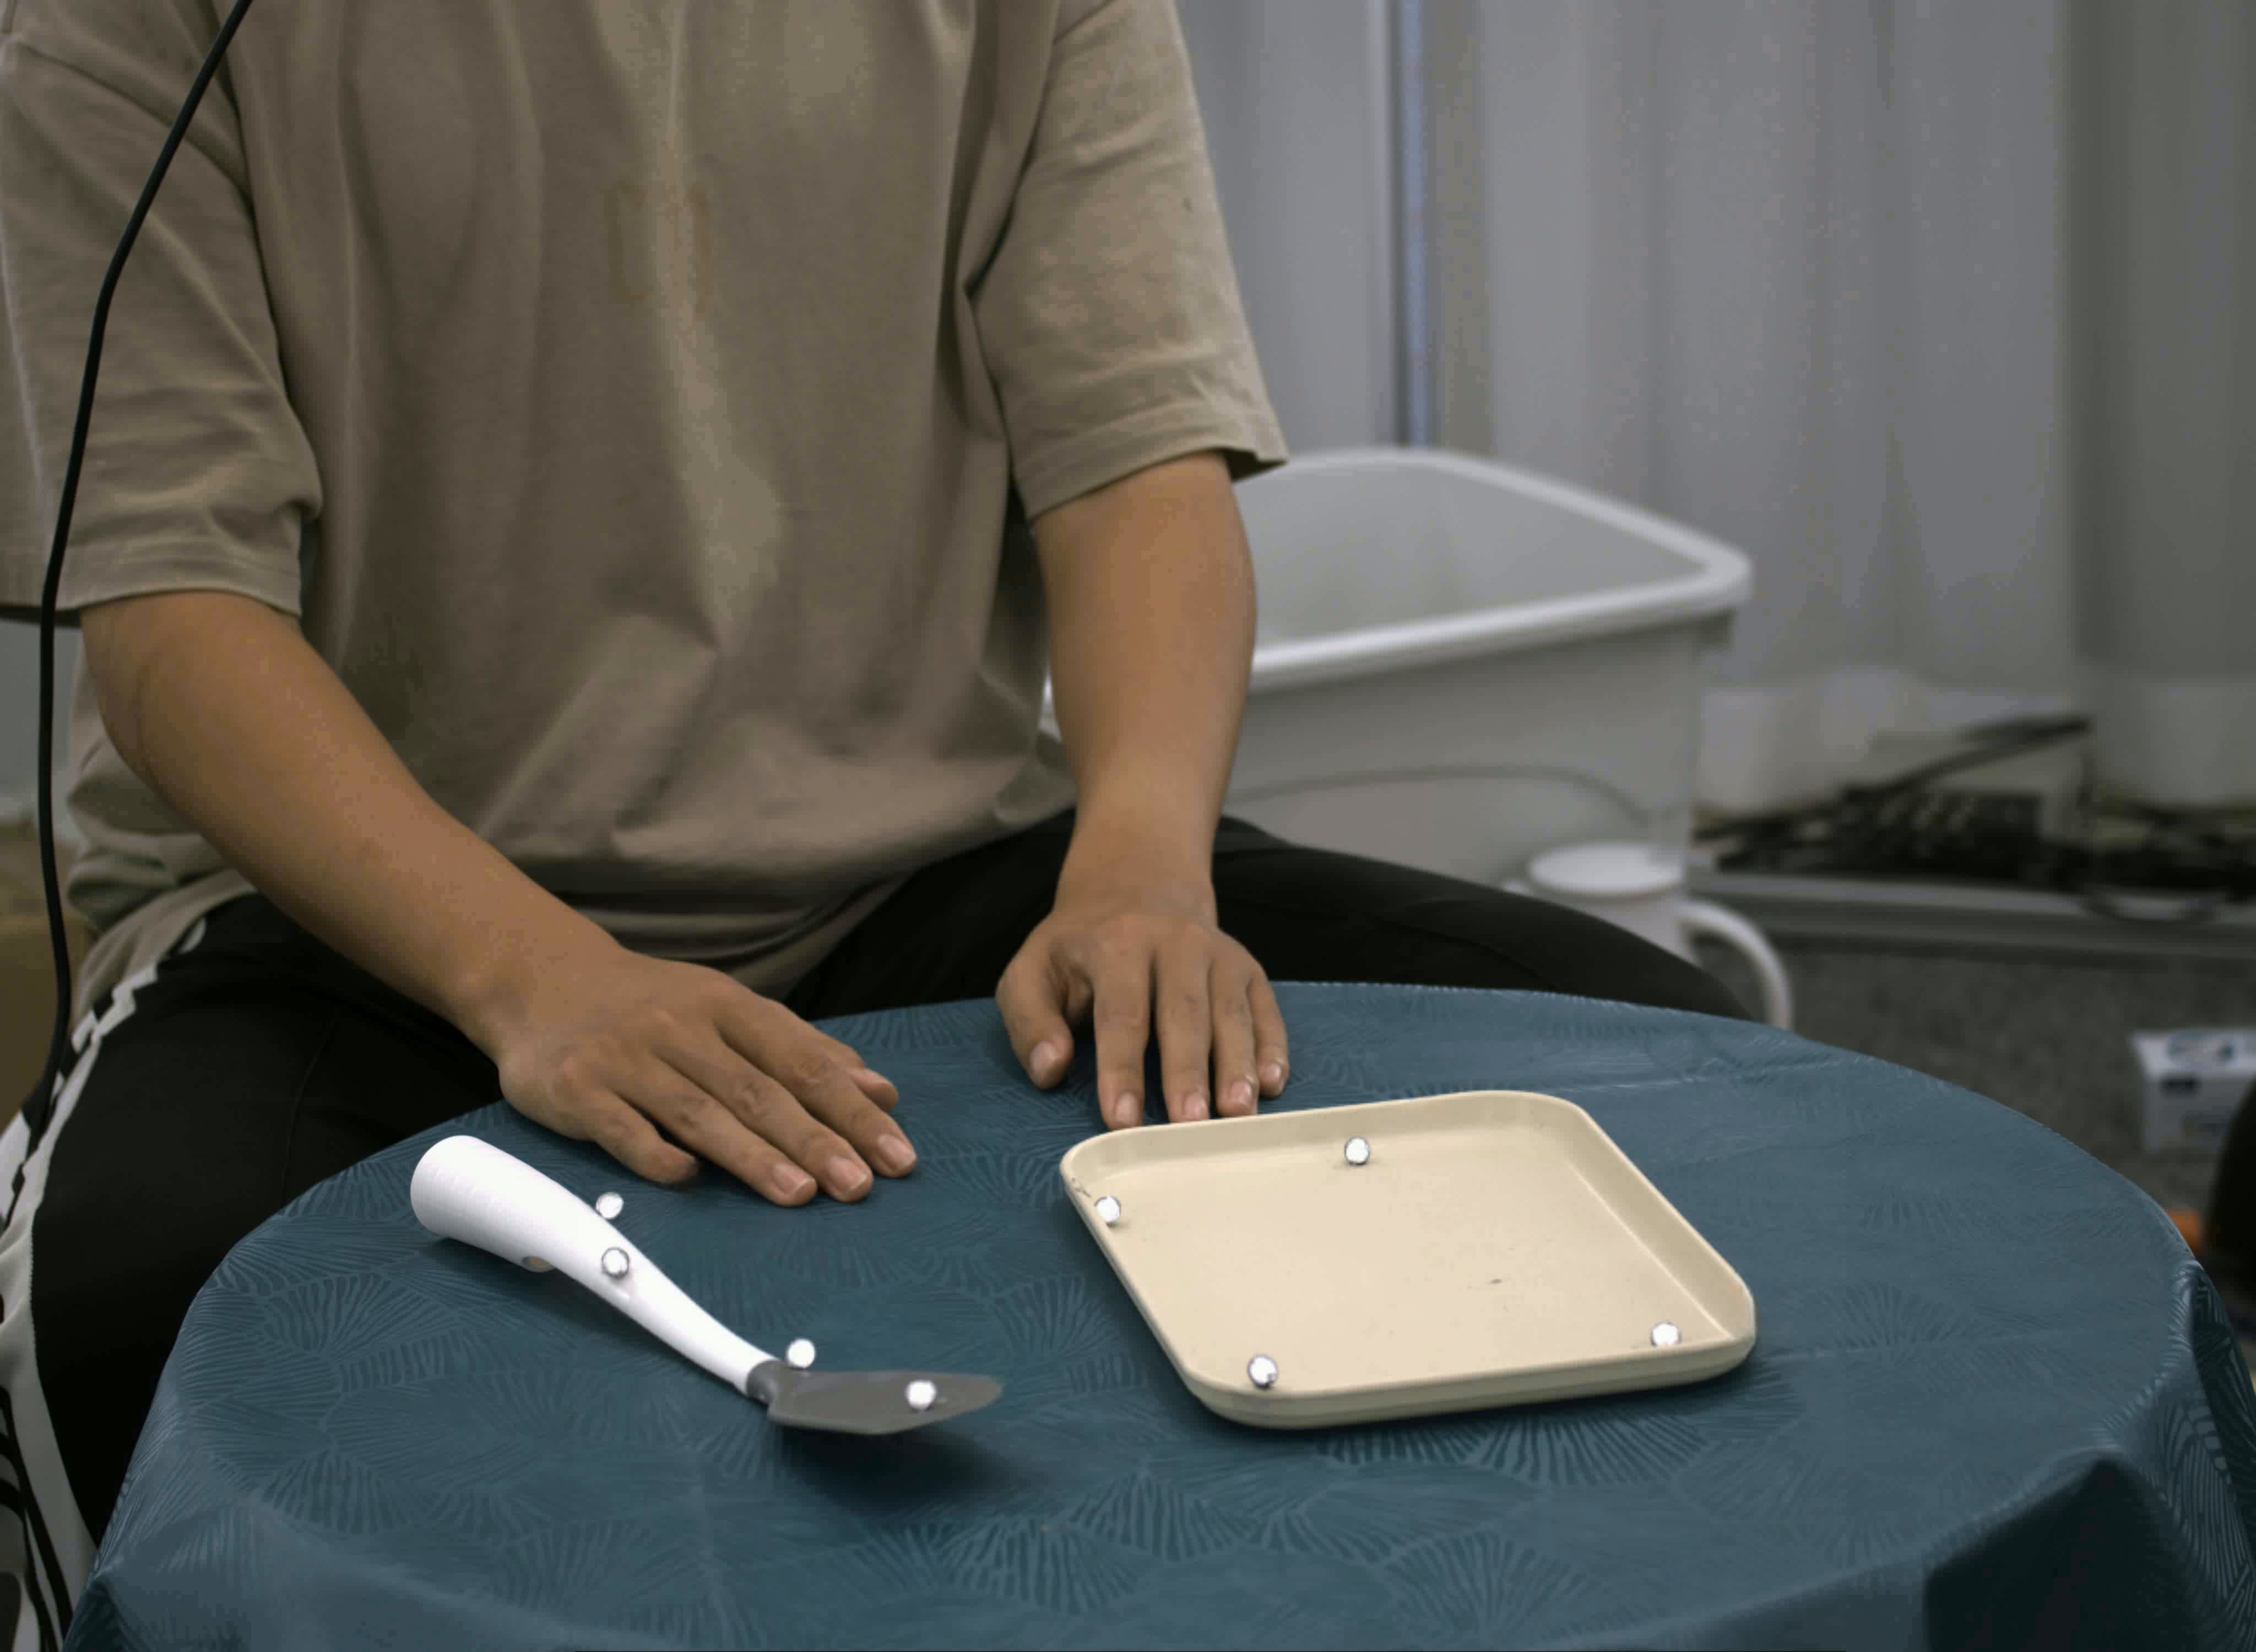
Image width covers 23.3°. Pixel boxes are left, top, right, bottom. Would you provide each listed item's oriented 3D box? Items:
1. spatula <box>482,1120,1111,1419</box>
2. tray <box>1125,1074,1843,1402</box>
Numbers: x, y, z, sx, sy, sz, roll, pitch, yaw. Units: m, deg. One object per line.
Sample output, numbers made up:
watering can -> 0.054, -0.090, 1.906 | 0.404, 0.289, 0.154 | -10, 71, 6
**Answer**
spatula -> -0.104, 0.133, 1.580 | 0.058, 0.032, 0.289 | -8, 15, -34
tray -> 0.101, 0.121, 1.622 | 0.170, 0.017, 0.241 | -5, 15, -11
